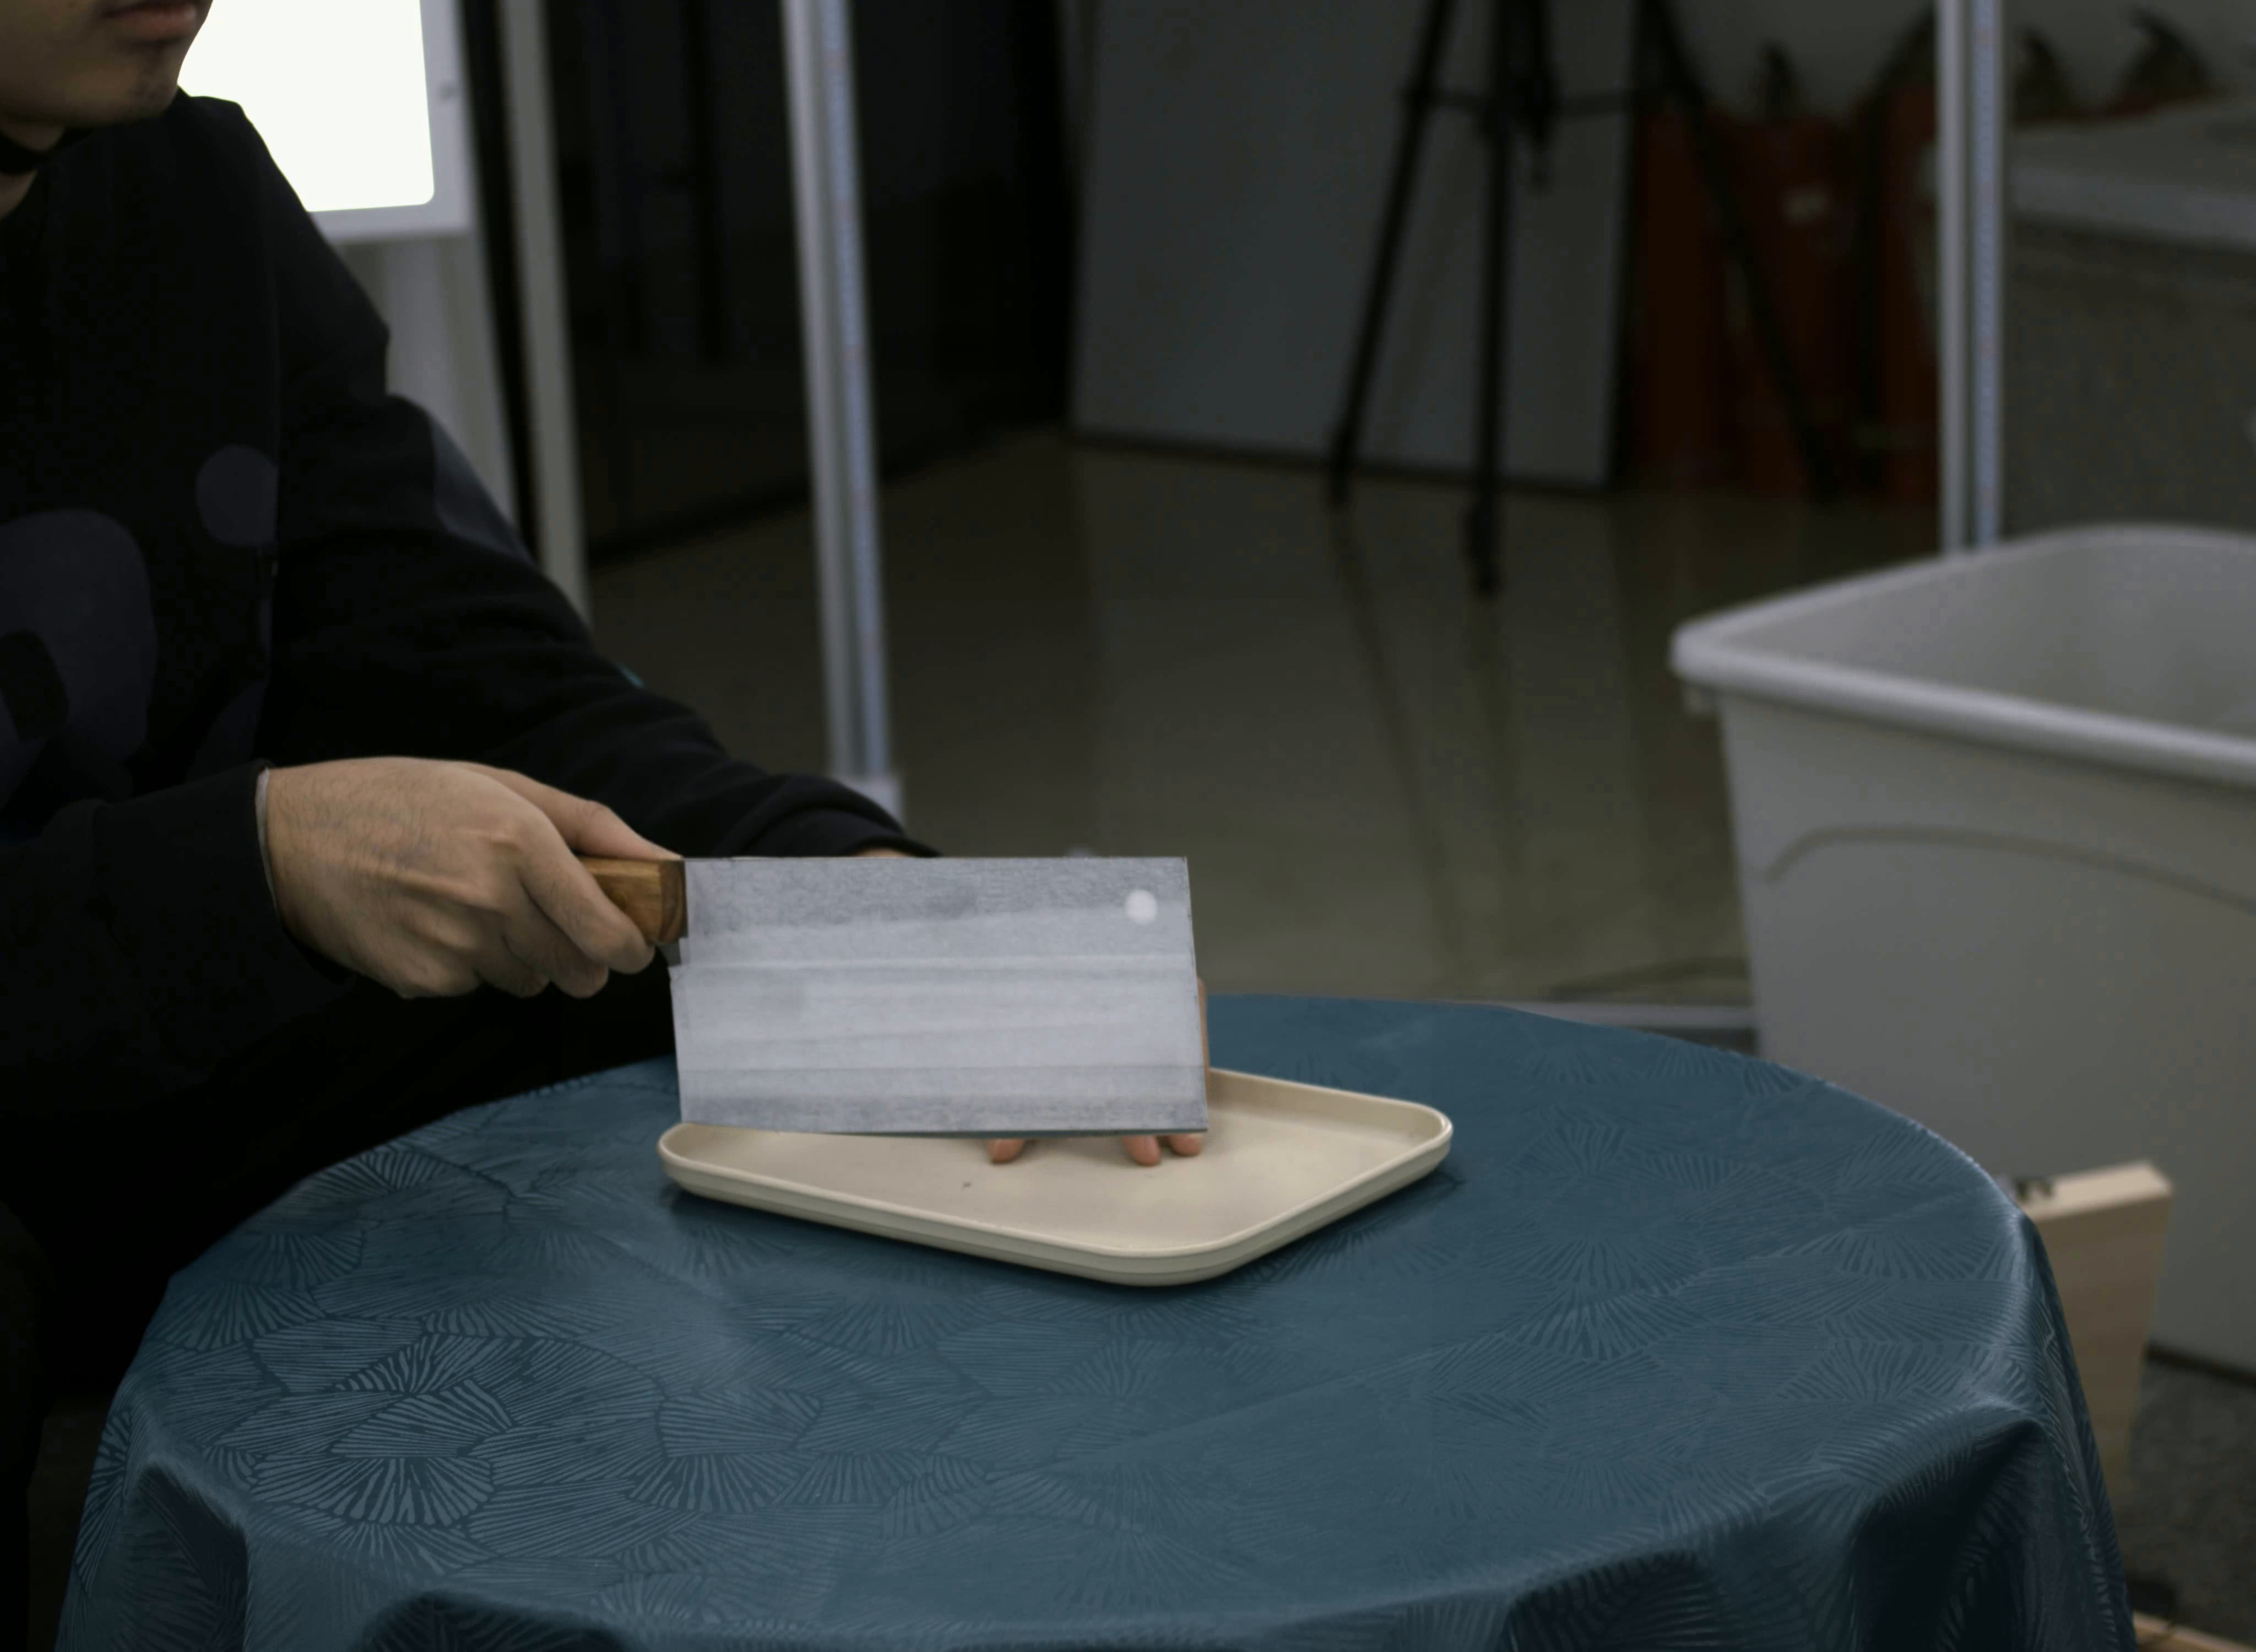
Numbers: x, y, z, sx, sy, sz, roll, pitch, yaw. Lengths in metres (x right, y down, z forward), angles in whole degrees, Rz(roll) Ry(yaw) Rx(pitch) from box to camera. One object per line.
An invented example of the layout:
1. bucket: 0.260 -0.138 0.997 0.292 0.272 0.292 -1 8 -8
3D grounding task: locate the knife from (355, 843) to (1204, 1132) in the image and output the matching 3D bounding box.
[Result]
1. knife: -0.115 0.053 1.742 0.306 0.094 0.021 -1 8 26

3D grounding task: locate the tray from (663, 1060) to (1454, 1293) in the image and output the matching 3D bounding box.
1. tray: -0.023 0.110 1.784 0.241 0.017 0.168 8 20 40
